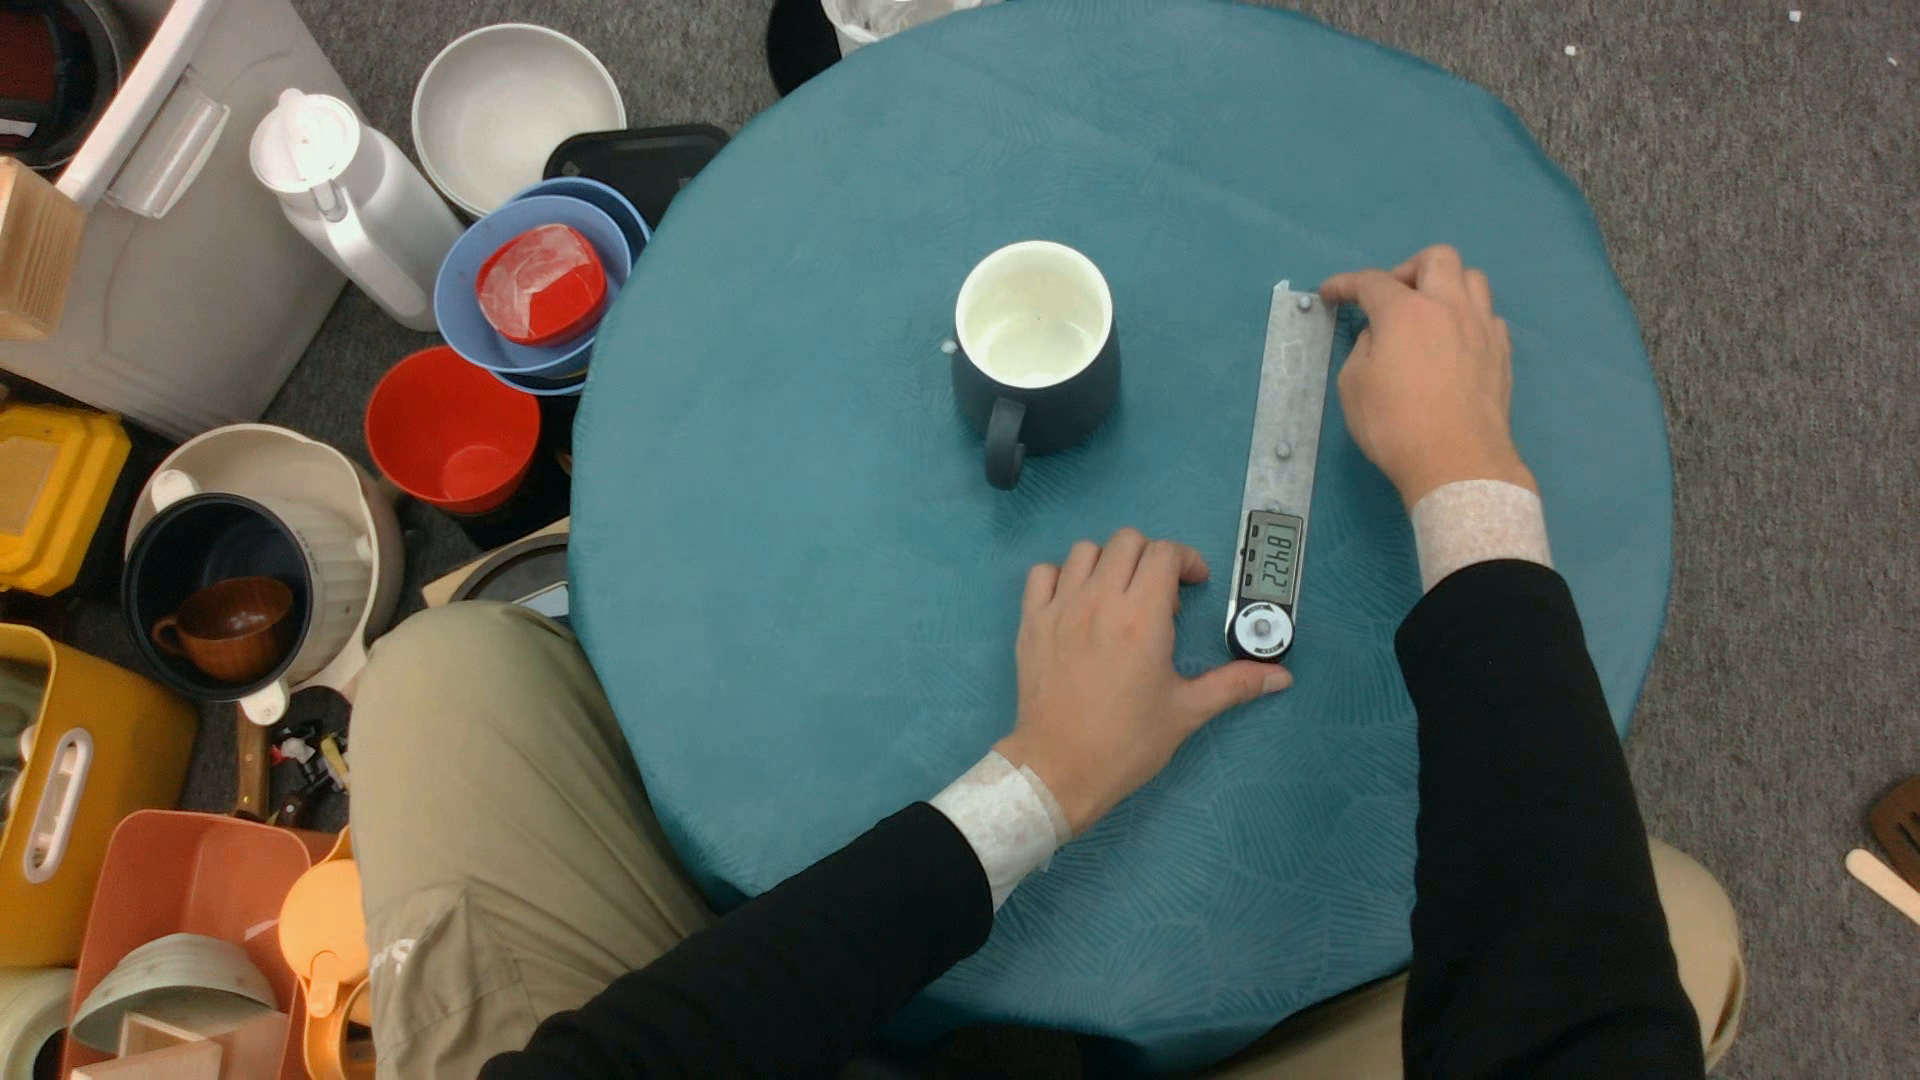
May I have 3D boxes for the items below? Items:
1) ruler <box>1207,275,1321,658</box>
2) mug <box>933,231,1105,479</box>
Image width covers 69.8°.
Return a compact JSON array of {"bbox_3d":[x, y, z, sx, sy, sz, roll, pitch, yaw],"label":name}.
[{"bbox_3d":[0.166,-0.045,0.739,0.038,0.024,0.218,12,75,0],"label":"ruler"},{"bbox_3d":[0.026,-0.092,0.723,0.093,0.089,0.123,16,74,8],"label":"mug"}]
